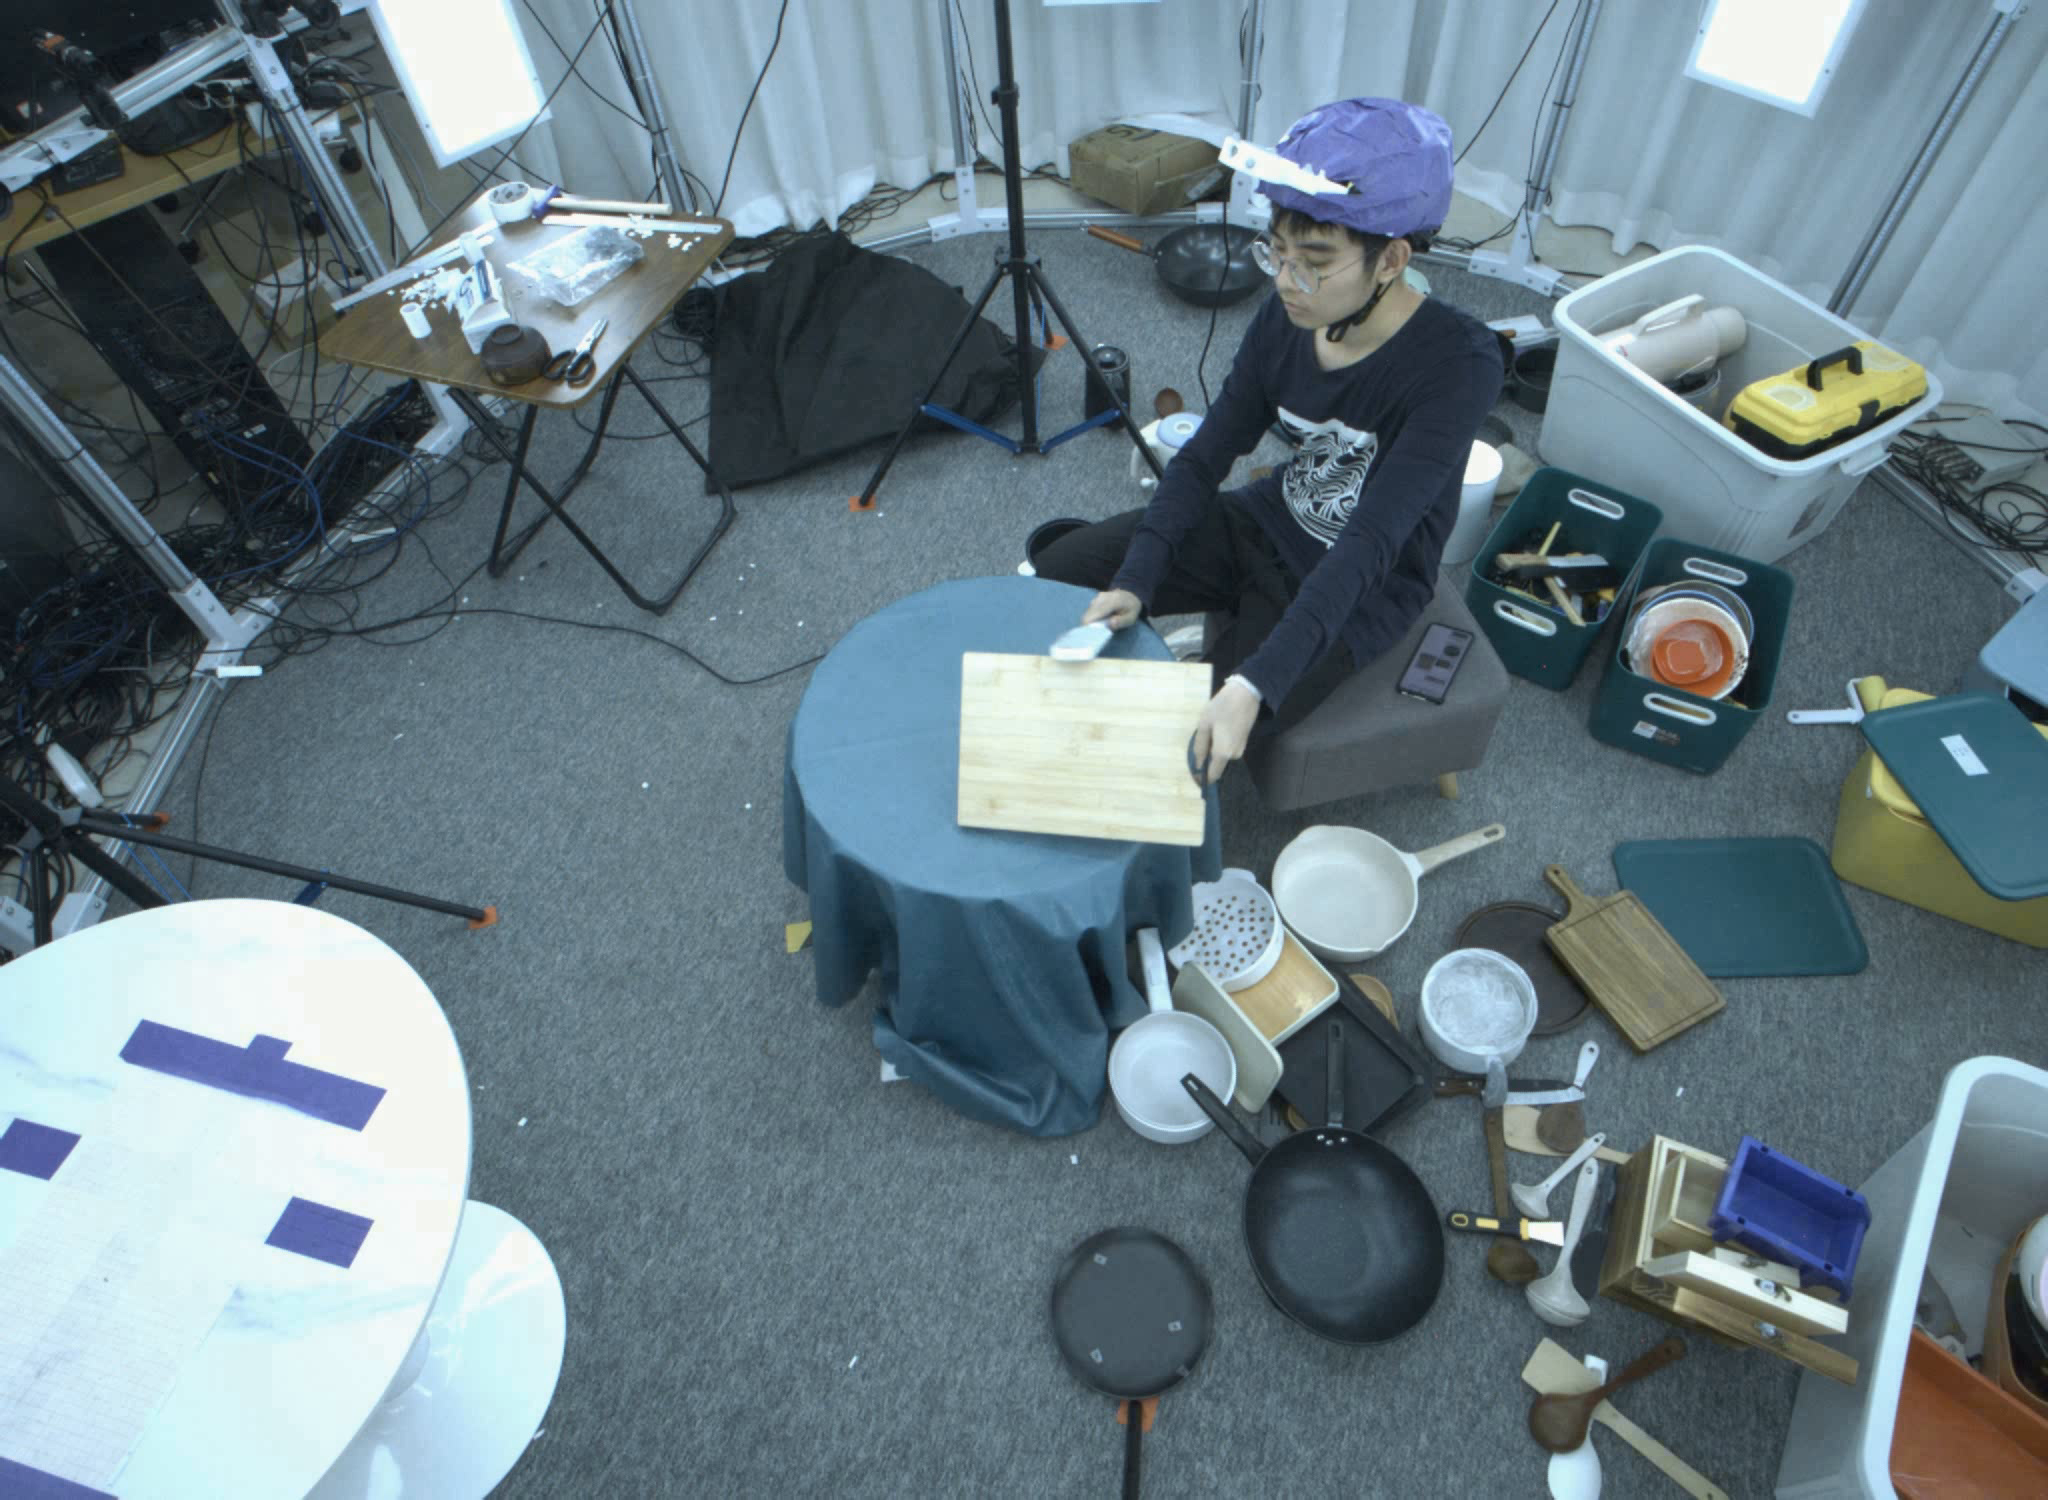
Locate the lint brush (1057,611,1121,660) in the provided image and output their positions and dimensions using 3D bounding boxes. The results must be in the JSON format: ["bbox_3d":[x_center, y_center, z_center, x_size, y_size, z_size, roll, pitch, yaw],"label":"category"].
[{"bbox_3d":[0.103,-0.166,1.751,0.059,0.021,0.310,-1,15,14],"label":"lint brush"}]

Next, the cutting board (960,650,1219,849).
[{"bbox_3d":[0.084,-0.003,1.664,0.345,0.024,0.251,3,98,13],"label":"cutting board"}]
